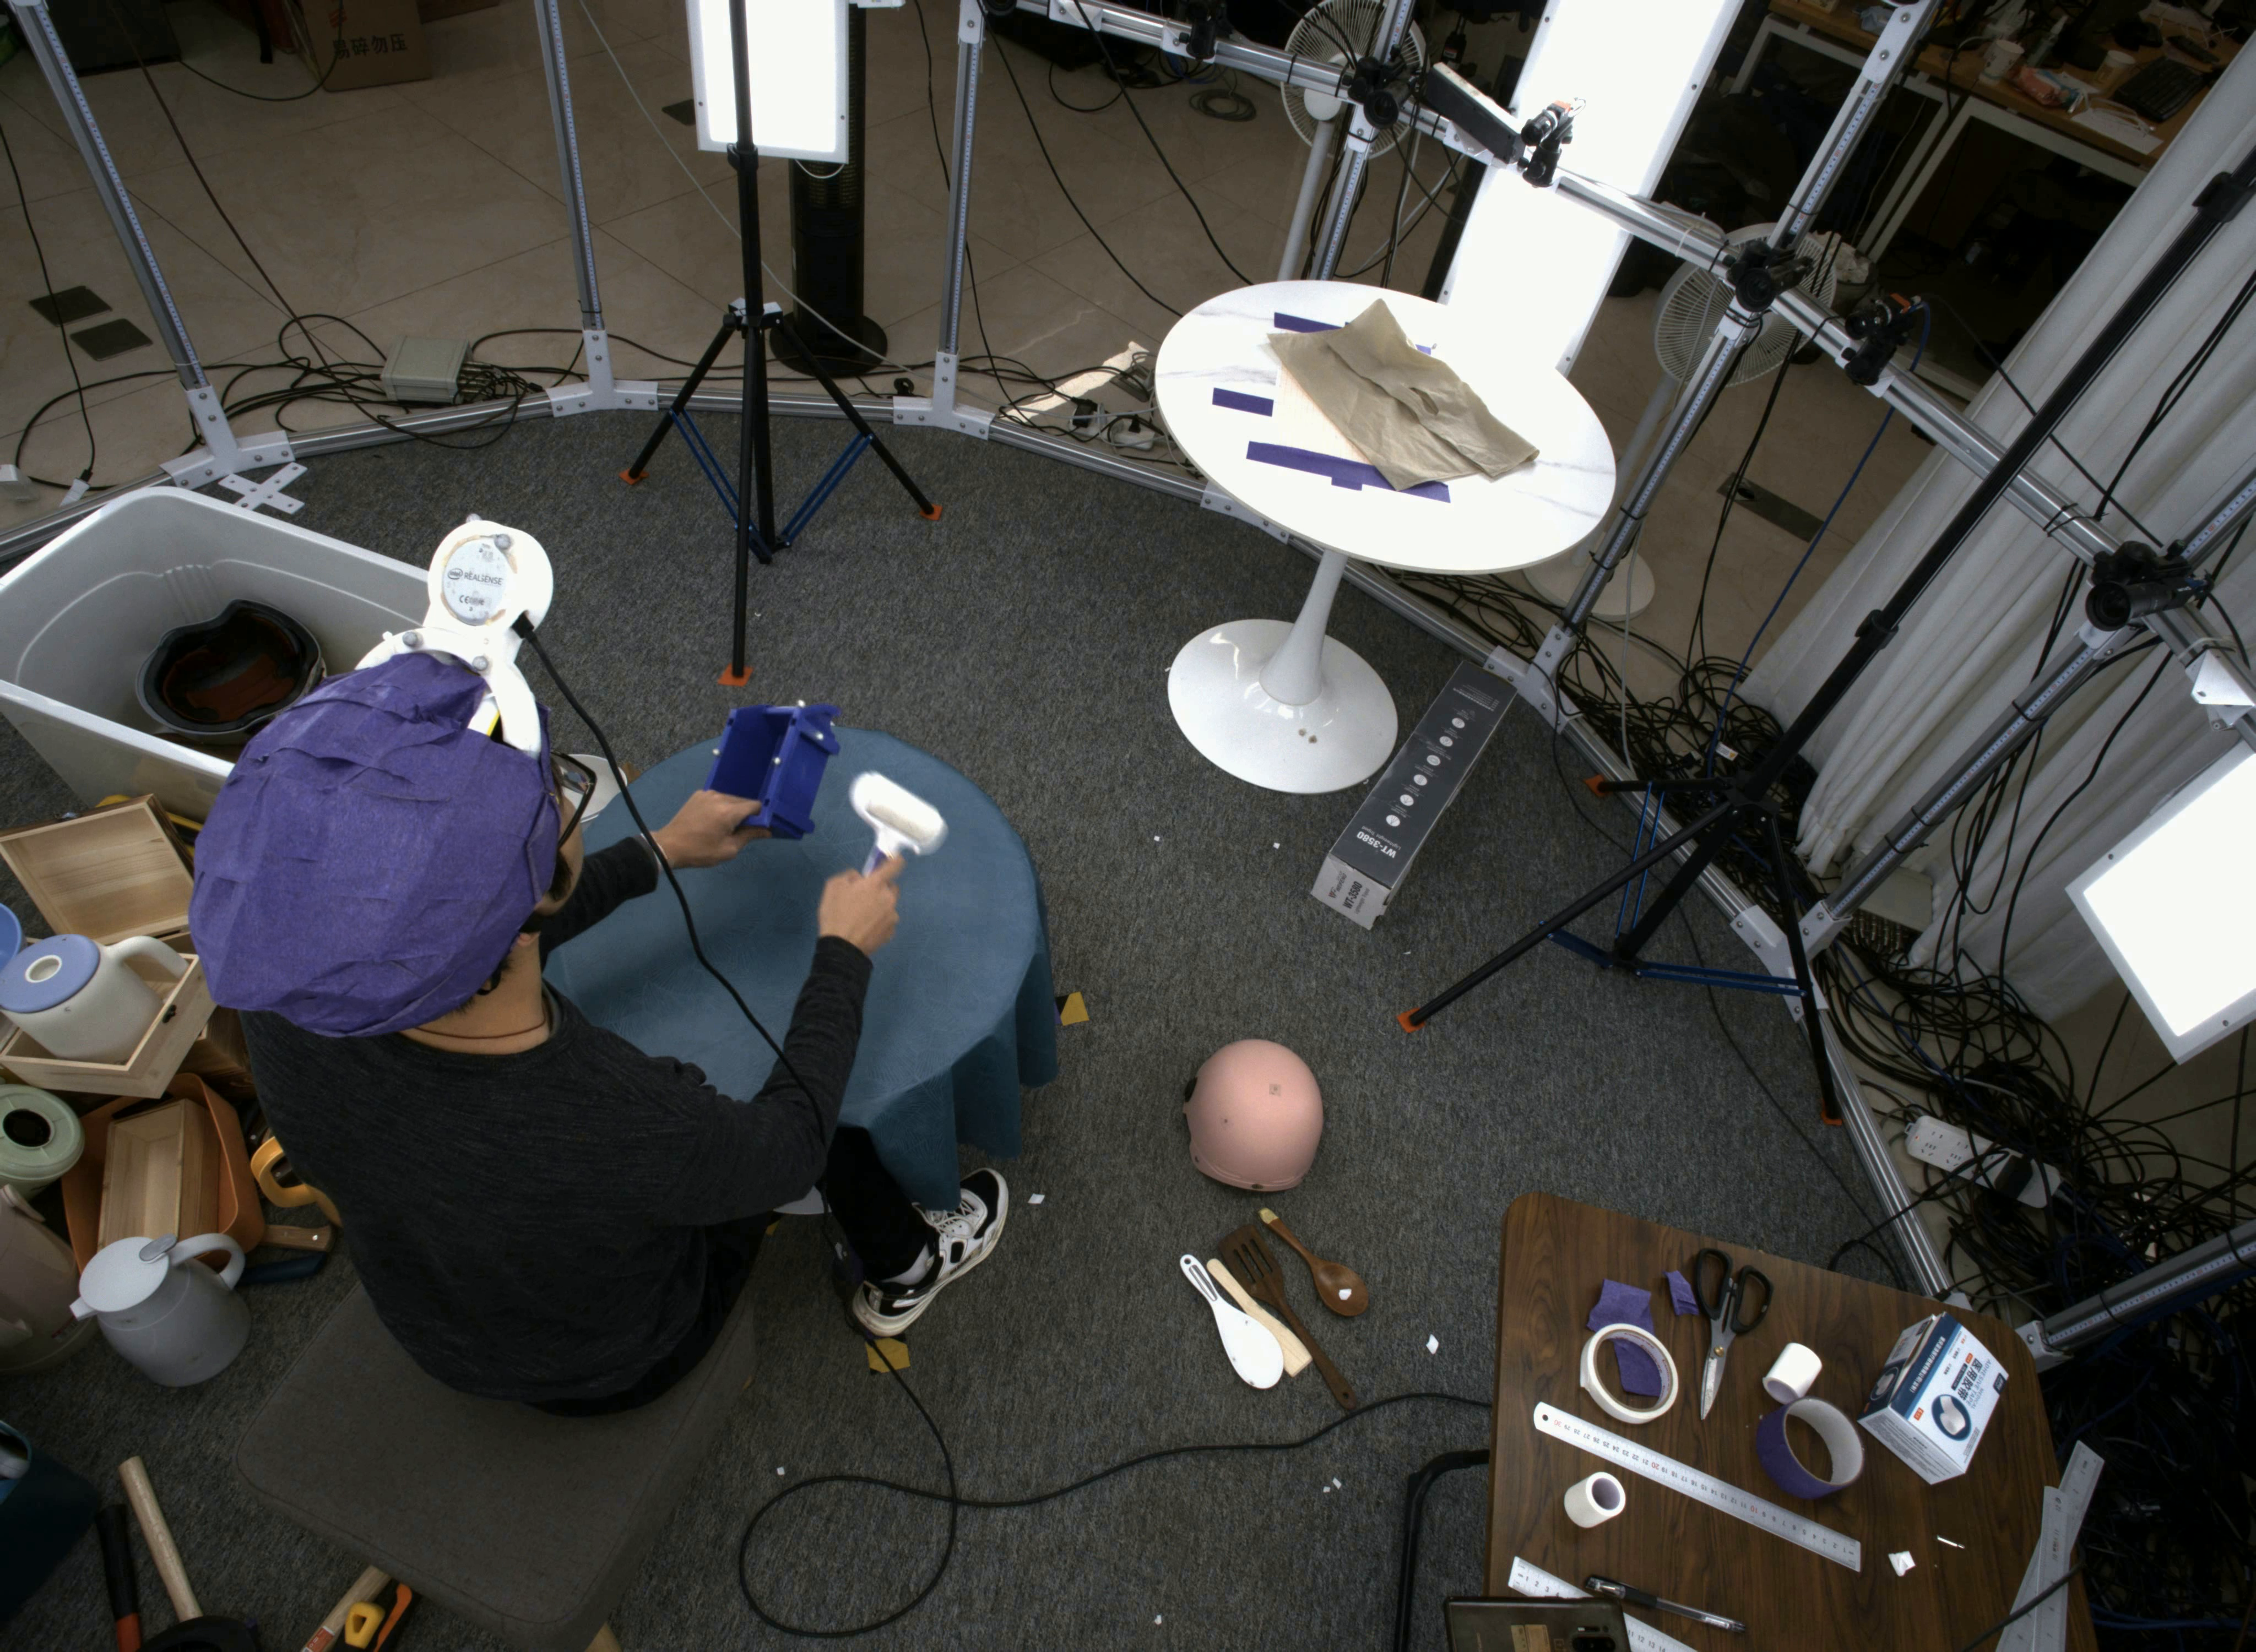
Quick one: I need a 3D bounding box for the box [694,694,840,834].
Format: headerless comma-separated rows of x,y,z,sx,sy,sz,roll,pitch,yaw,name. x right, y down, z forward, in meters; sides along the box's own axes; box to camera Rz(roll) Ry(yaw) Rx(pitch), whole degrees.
-0.433,-0.081,1.570,0.120,0.084,0.179,4,73,30,box

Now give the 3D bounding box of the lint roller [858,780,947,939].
-0.279,0.046,1.533,0.049,0.138,0.179,-10,55,31,lint roller
